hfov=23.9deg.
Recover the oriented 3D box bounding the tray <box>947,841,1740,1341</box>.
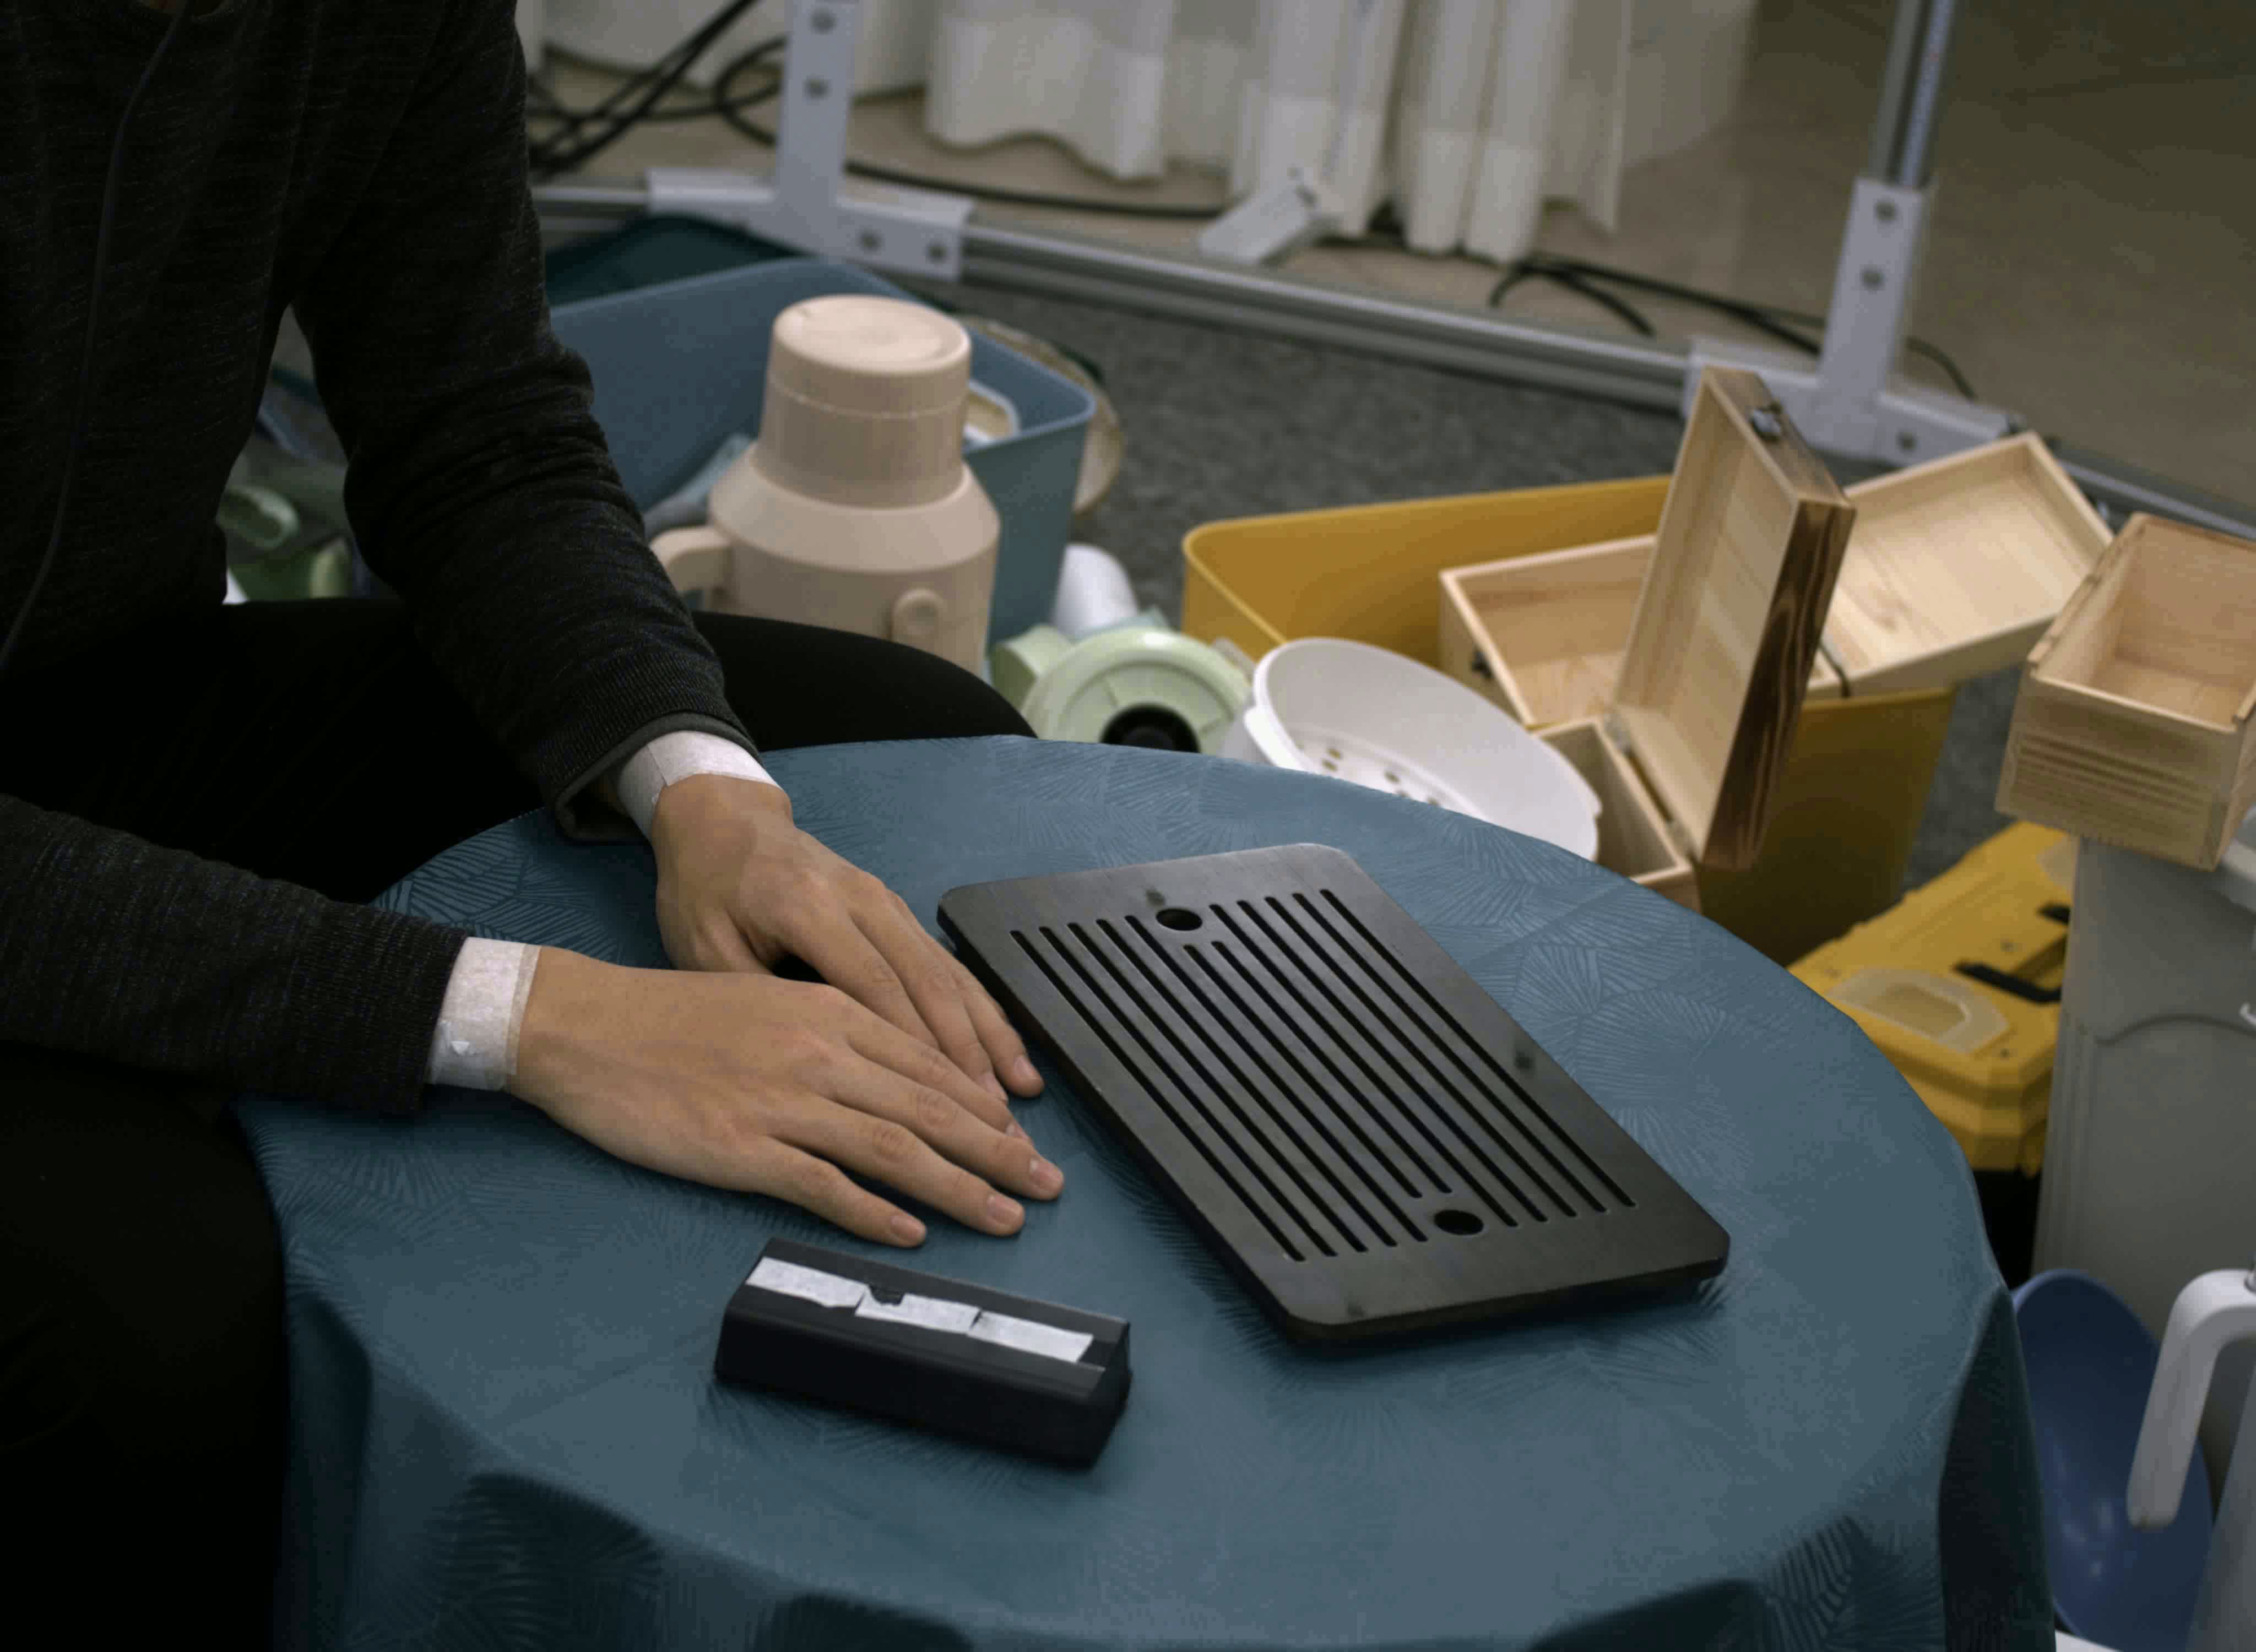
[{"bbox_3d":[0.069,0.089,1.864,0.169,0.018,0.309,-7,30,-24],"label":"tray"}]

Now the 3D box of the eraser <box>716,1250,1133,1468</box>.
[{"bbox_3d":[-0.064,0.167,1.672,0.125,0.030,0.053,11,25,11],"label":"eraser"}]
